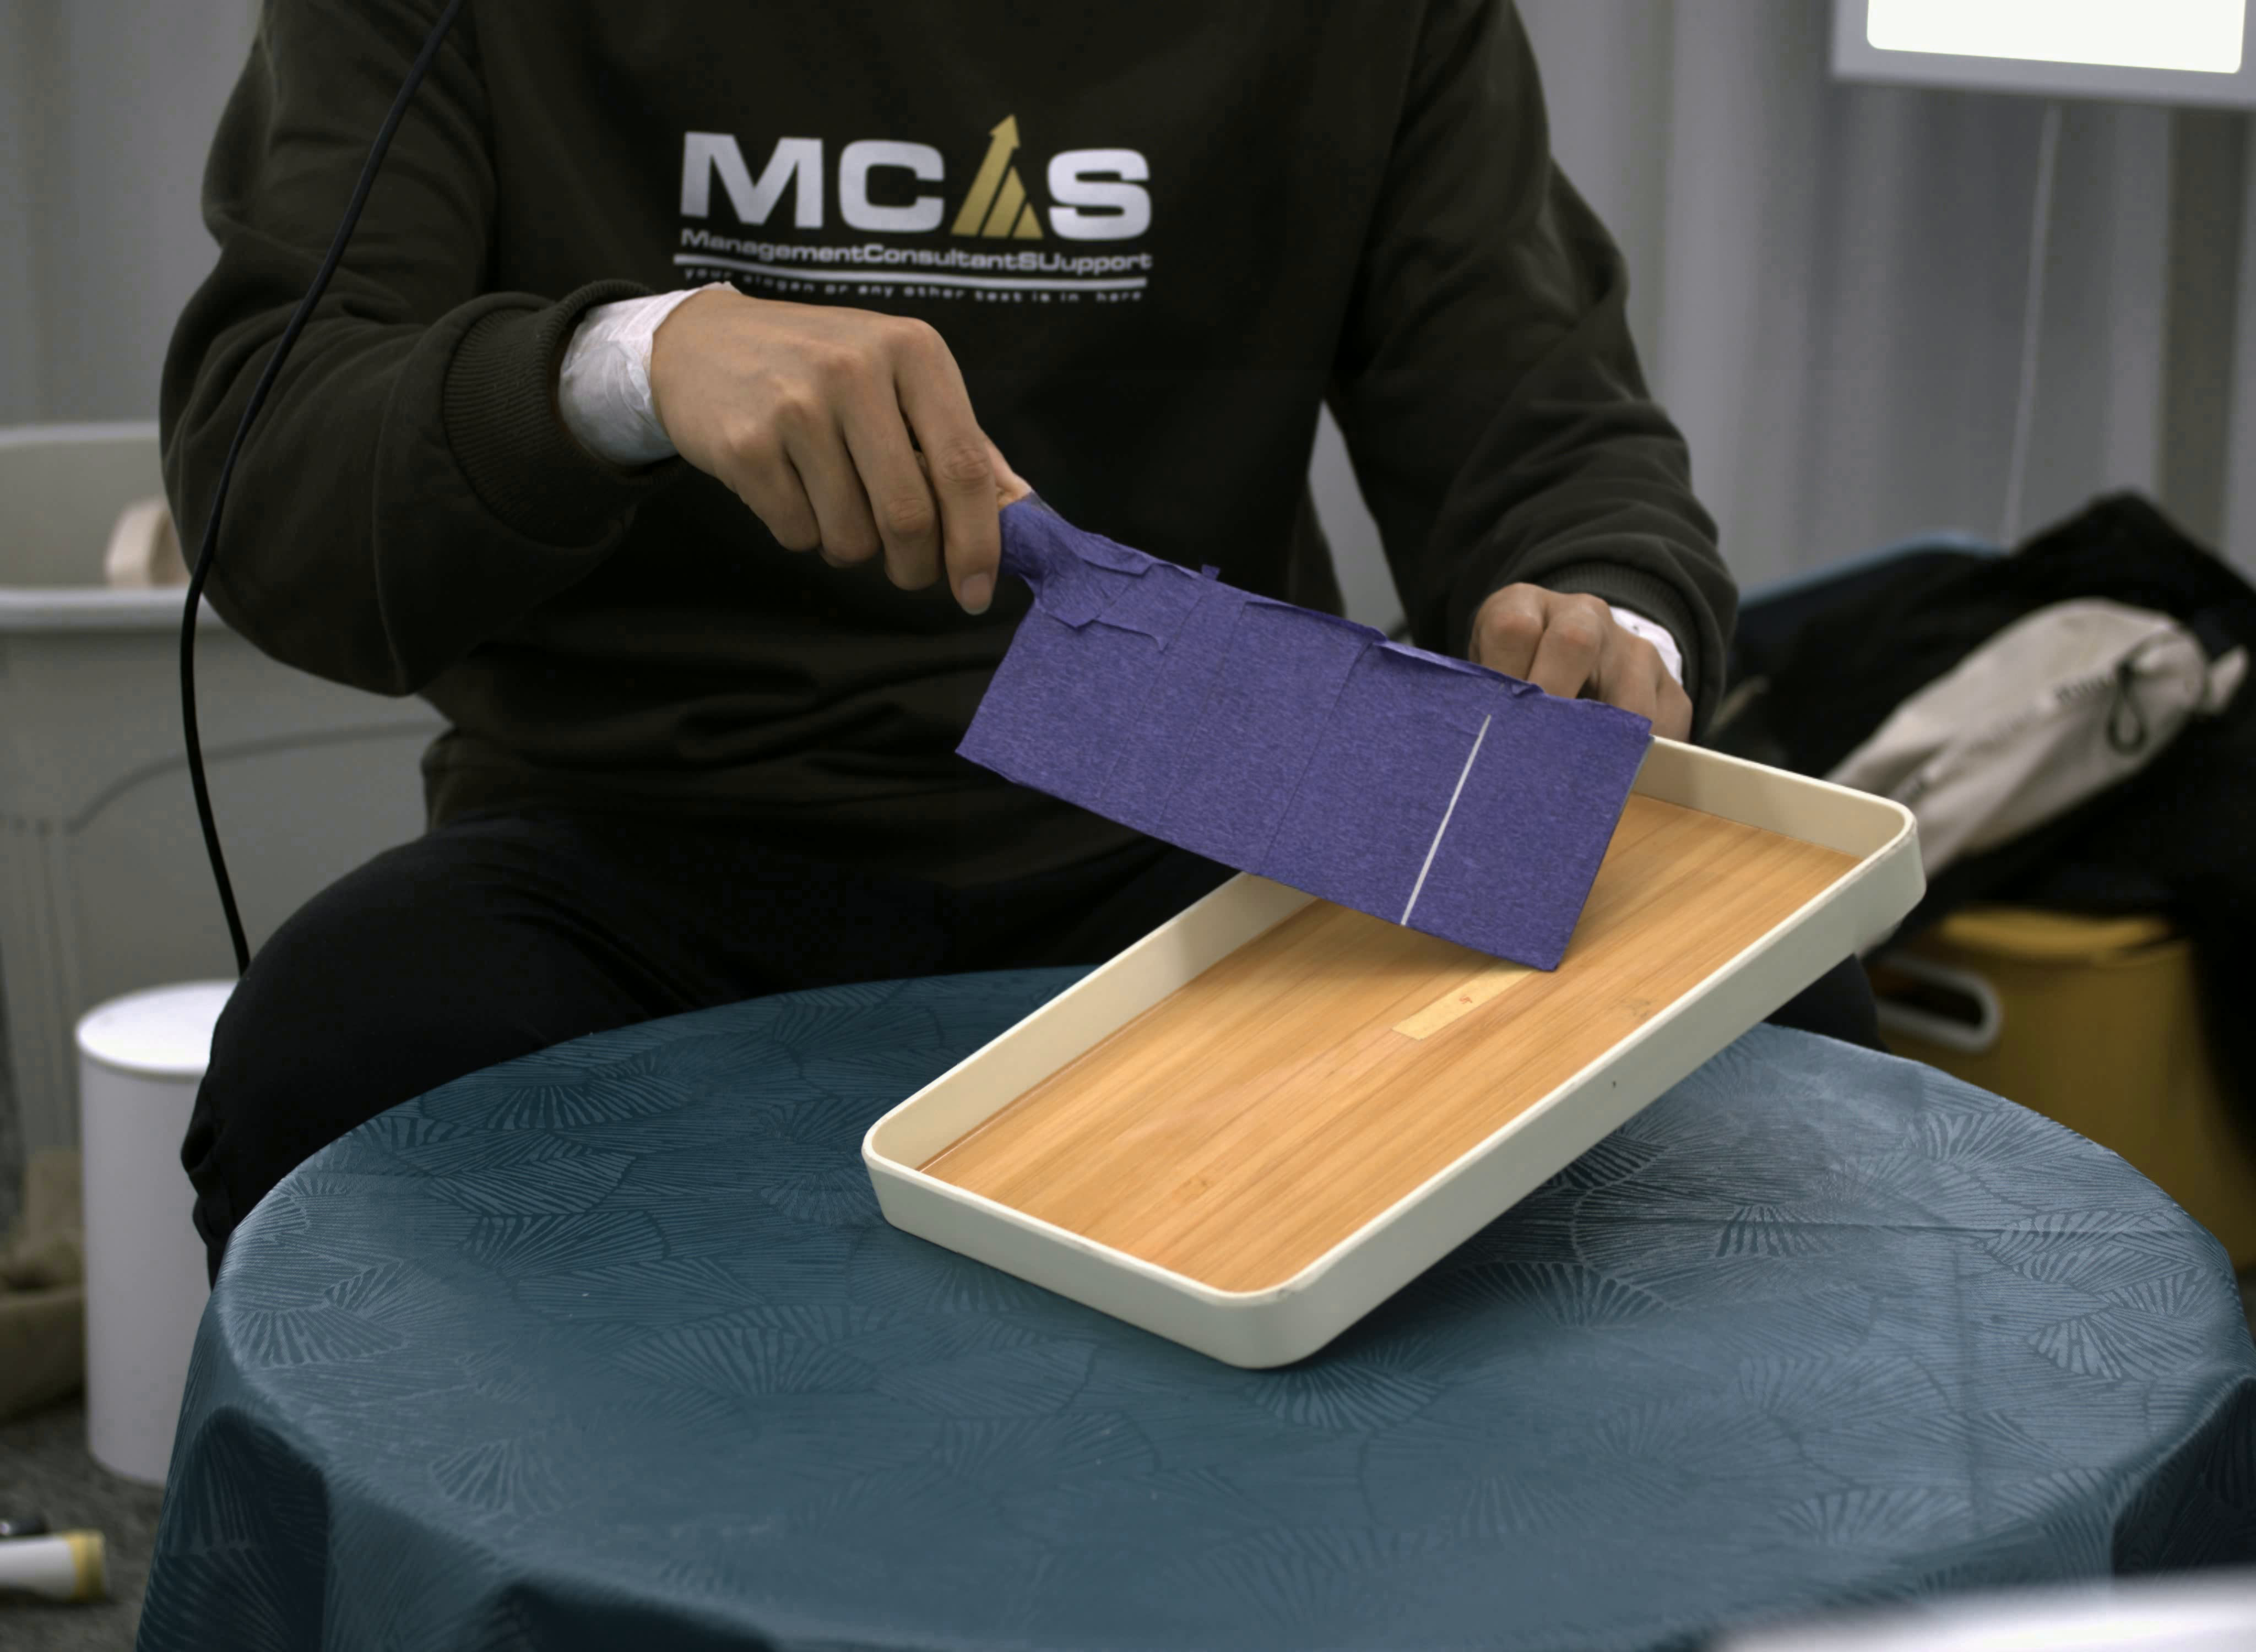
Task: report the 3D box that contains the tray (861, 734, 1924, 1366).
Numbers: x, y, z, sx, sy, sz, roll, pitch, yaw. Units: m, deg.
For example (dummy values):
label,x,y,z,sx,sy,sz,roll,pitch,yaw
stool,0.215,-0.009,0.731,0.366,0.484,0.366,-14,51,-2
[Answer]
label,x,y,z,sx,sy,sz,roll,pitch,yaw
tray,0.083,0.057,1.608,0.300,0.028,0.189,-33,32,-31

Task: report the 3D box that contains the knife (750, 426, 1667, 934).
label,x,y,z,sx,sy,sz,roll,pitch,yaw
knife,0.009,-0.047,1.674,0.312,0.103,0.032,18,-21,17
